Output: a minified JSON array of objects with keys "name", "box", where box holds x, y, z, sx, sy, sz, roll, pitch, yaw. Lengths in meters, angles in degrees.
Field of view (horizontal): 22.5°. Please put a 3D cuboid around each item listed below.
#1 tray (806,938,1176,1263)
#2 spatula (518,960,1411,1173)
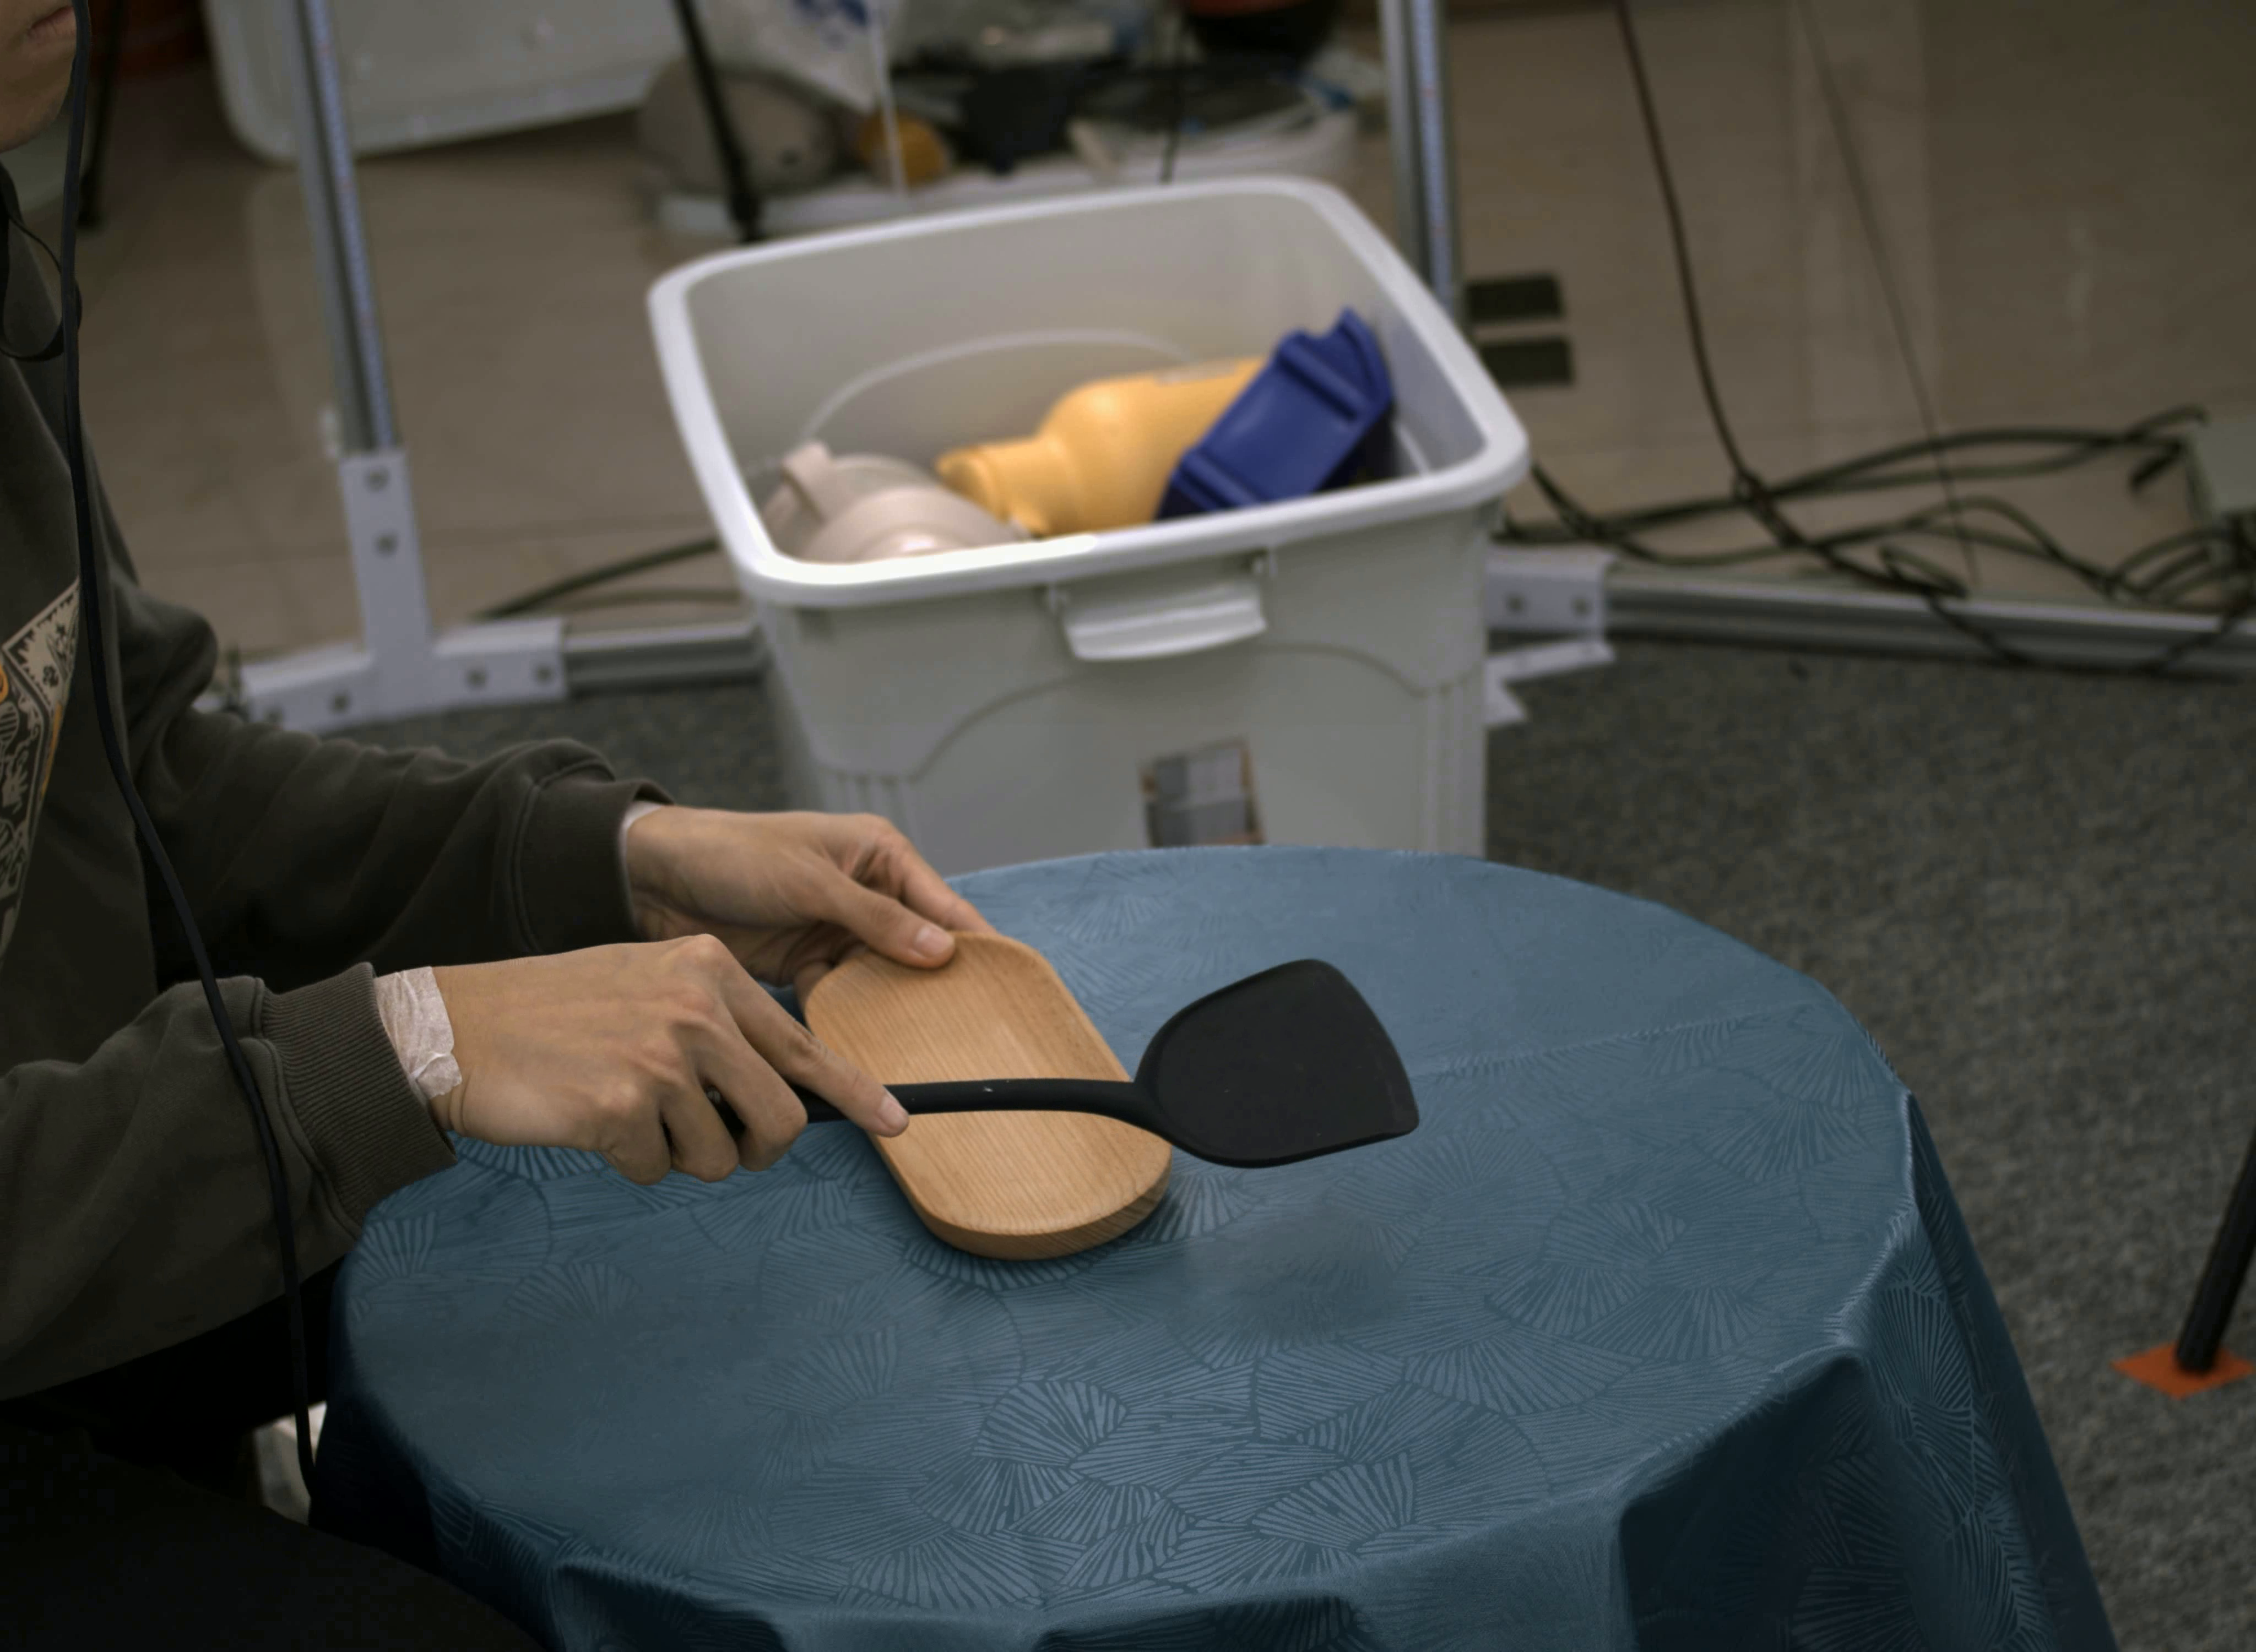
[{"name":"tray","box":[-0.055,0.104,2.194,0.101,0.021,0.228,-17,33,-14]},{"name":"spatula","box":[-0.059,0.091,2.009,0.326,0.041,0.098,1,38,-26]}]
